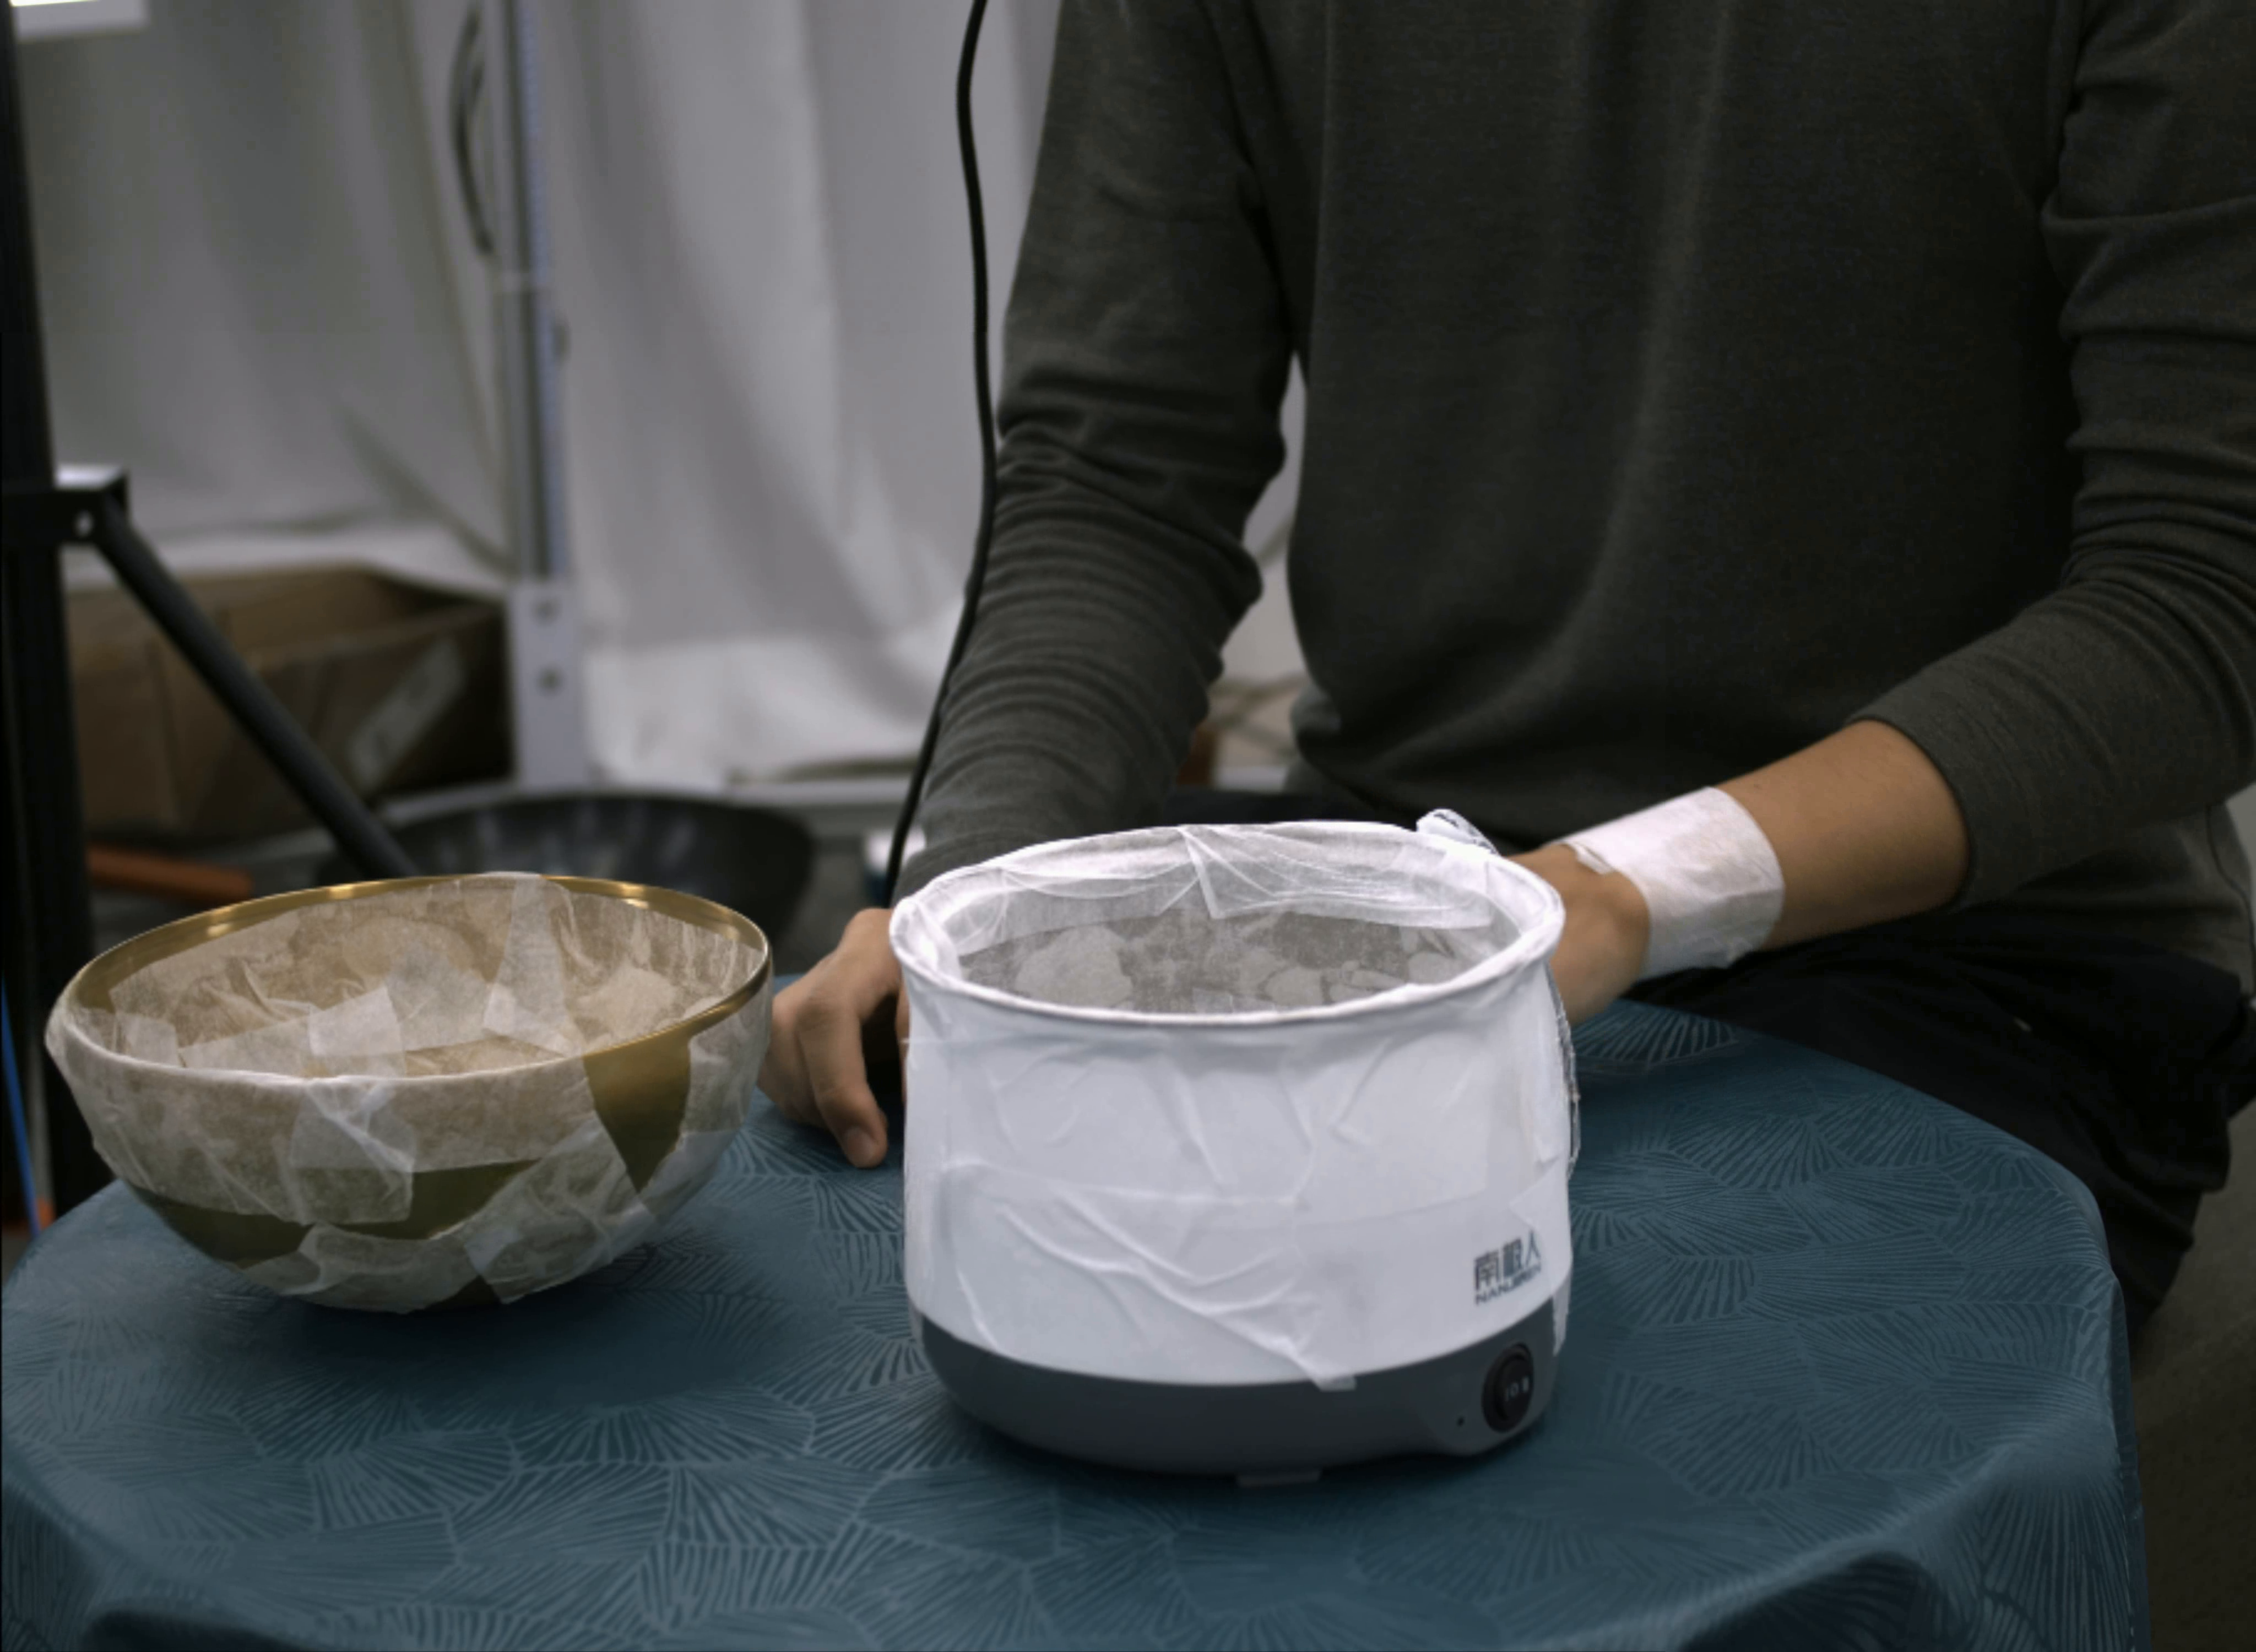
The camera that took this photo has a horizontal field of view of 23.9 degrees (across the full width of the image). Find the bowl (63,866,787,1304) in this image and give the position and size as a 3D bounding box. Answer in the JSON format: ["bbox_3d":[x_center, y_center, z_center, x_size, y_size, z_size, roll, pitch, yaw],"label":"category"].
[{"bbox_3d":[-0.193,0.081,1.514,0.213,0.094,0.216,-4,14,-1],"label":"bowl"}]

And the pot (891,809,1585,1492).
[{"bbox_3d":[0.045,0.078,1.412,0.182,0.136,0.229,10,19,37],"label":"pot"}]
